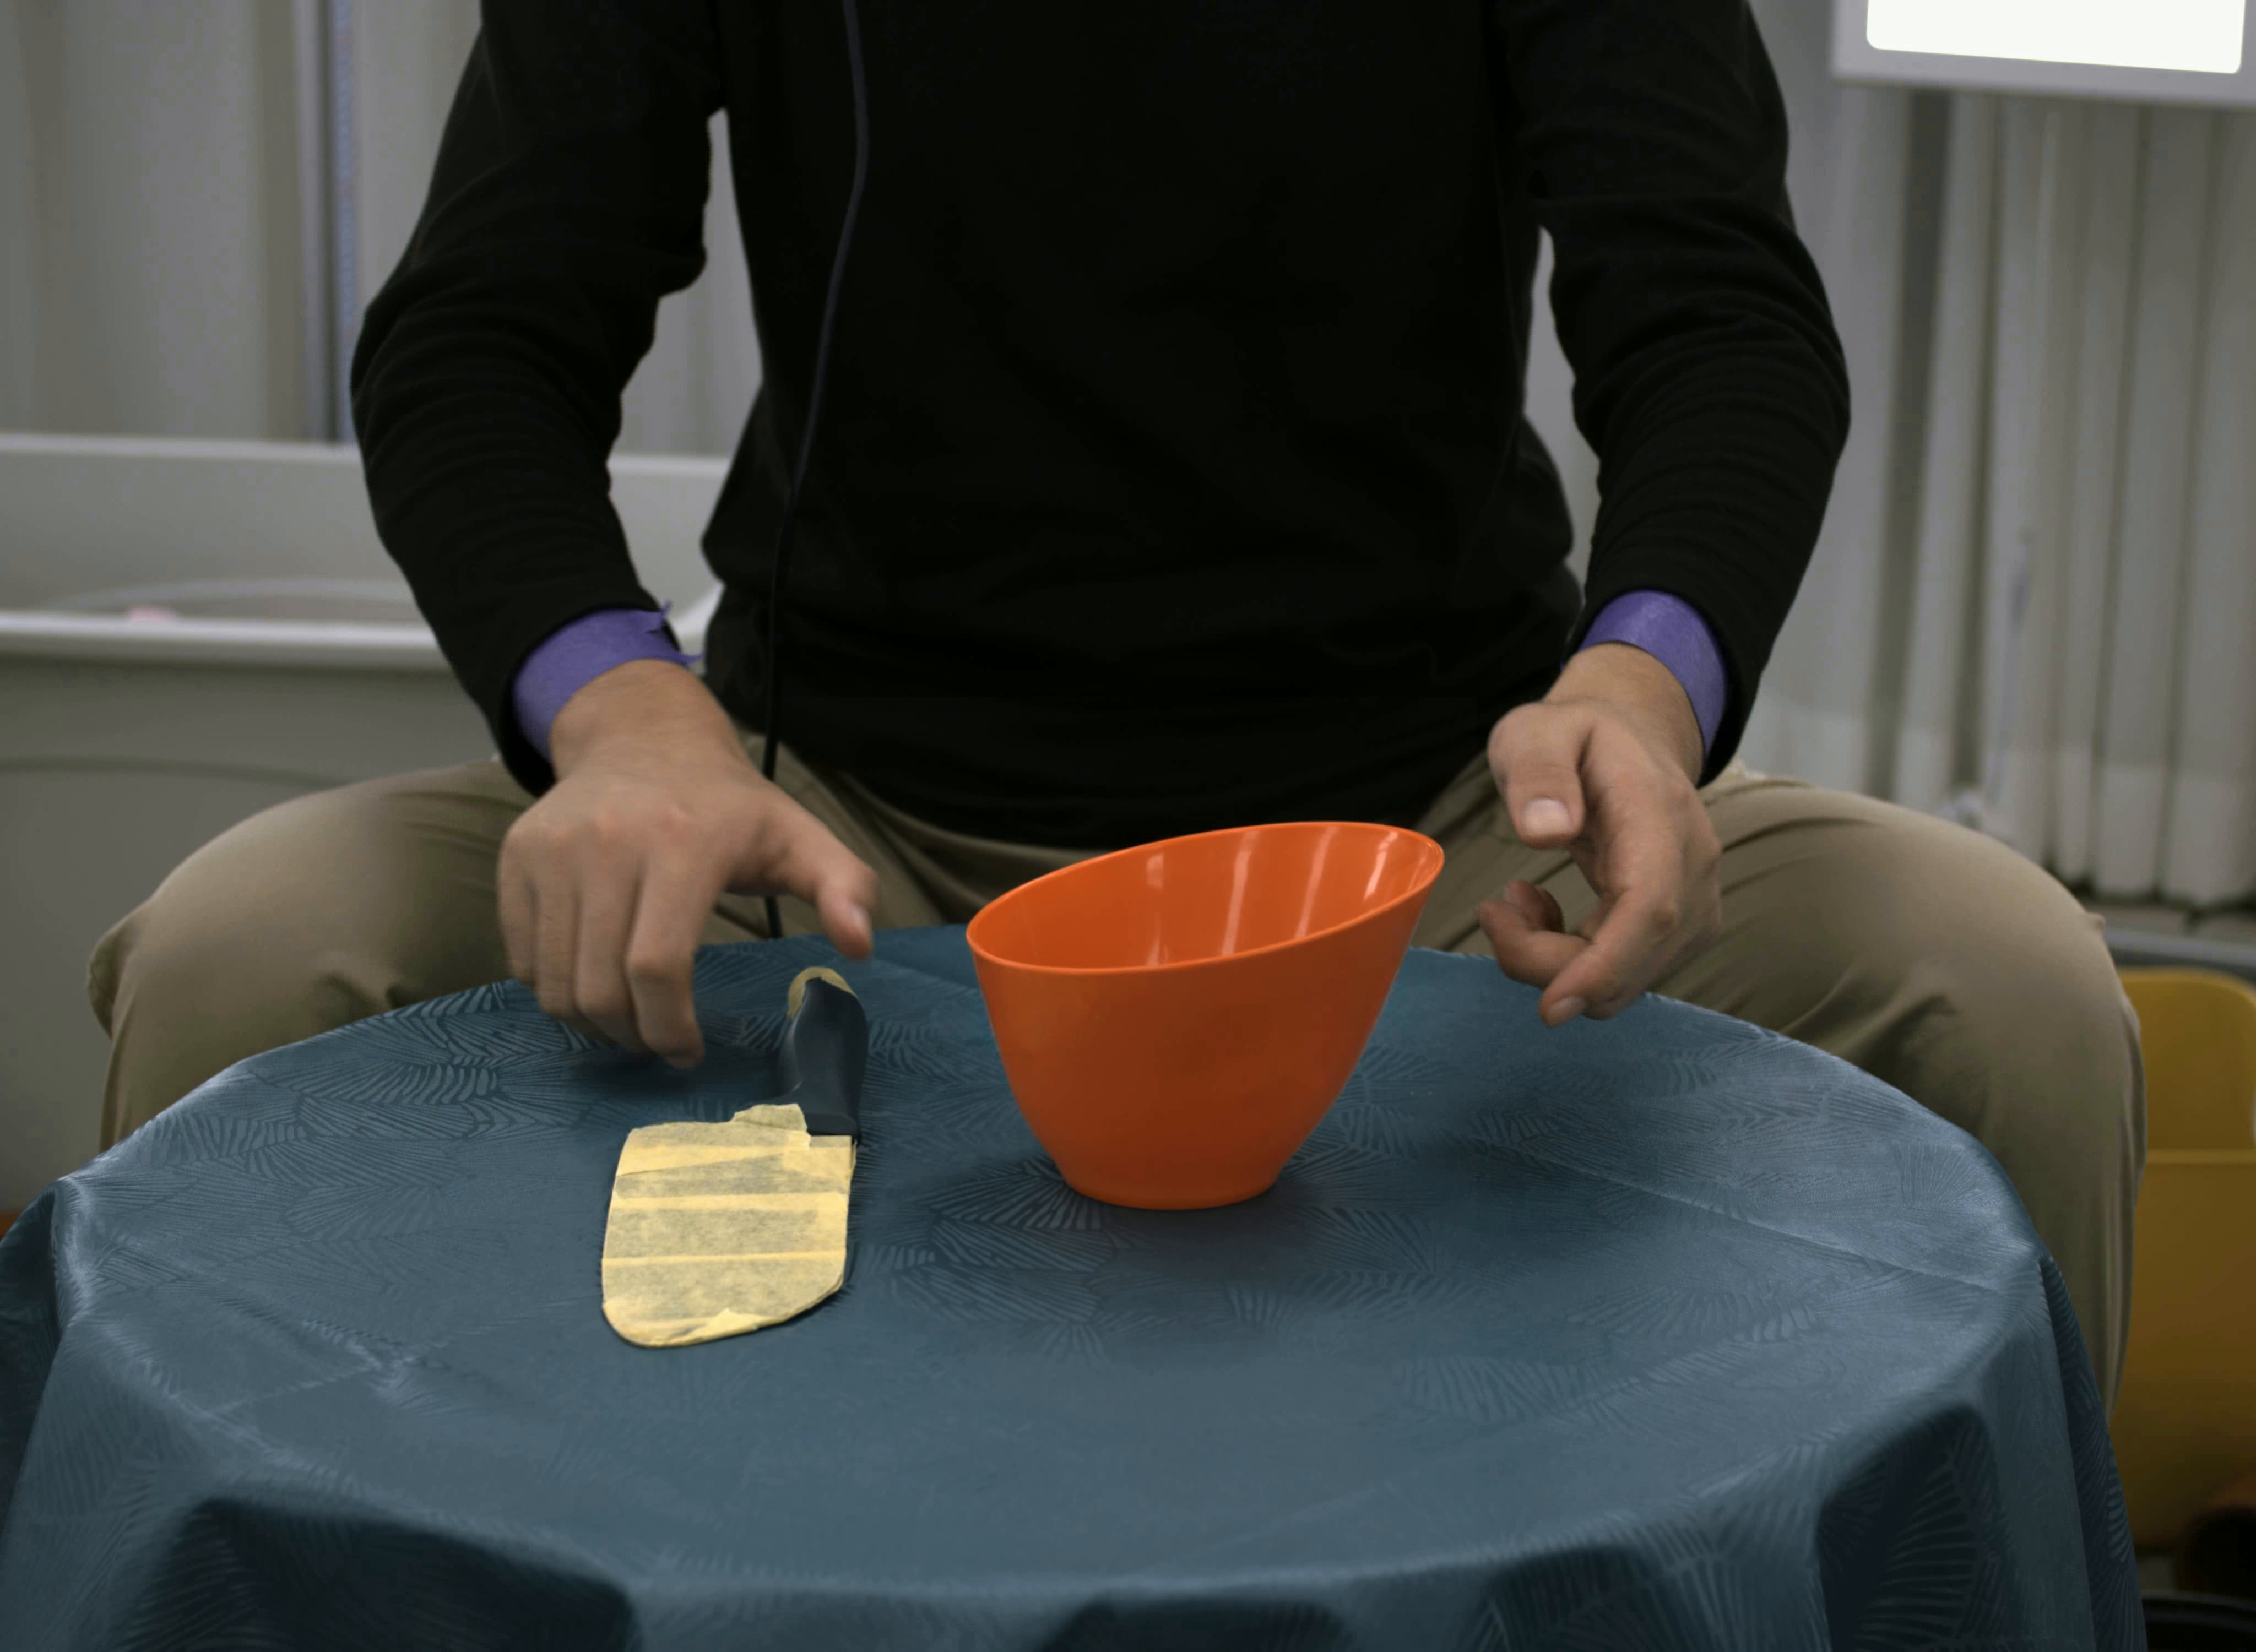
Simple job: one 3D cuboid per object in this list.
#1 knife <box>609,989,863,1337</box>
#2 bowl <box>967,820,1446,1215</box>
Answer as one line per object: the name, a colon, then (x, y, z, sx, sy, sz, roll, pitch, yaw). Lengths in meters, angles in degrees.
knife: (-0.118, 0.103, 1.626, 0.081, 0.027, 0.288, 2, 17, 1)
bowl: (0.024, 0.060, 1.620, 0.147, 0.105, 0.147, 0, 17, 1)
